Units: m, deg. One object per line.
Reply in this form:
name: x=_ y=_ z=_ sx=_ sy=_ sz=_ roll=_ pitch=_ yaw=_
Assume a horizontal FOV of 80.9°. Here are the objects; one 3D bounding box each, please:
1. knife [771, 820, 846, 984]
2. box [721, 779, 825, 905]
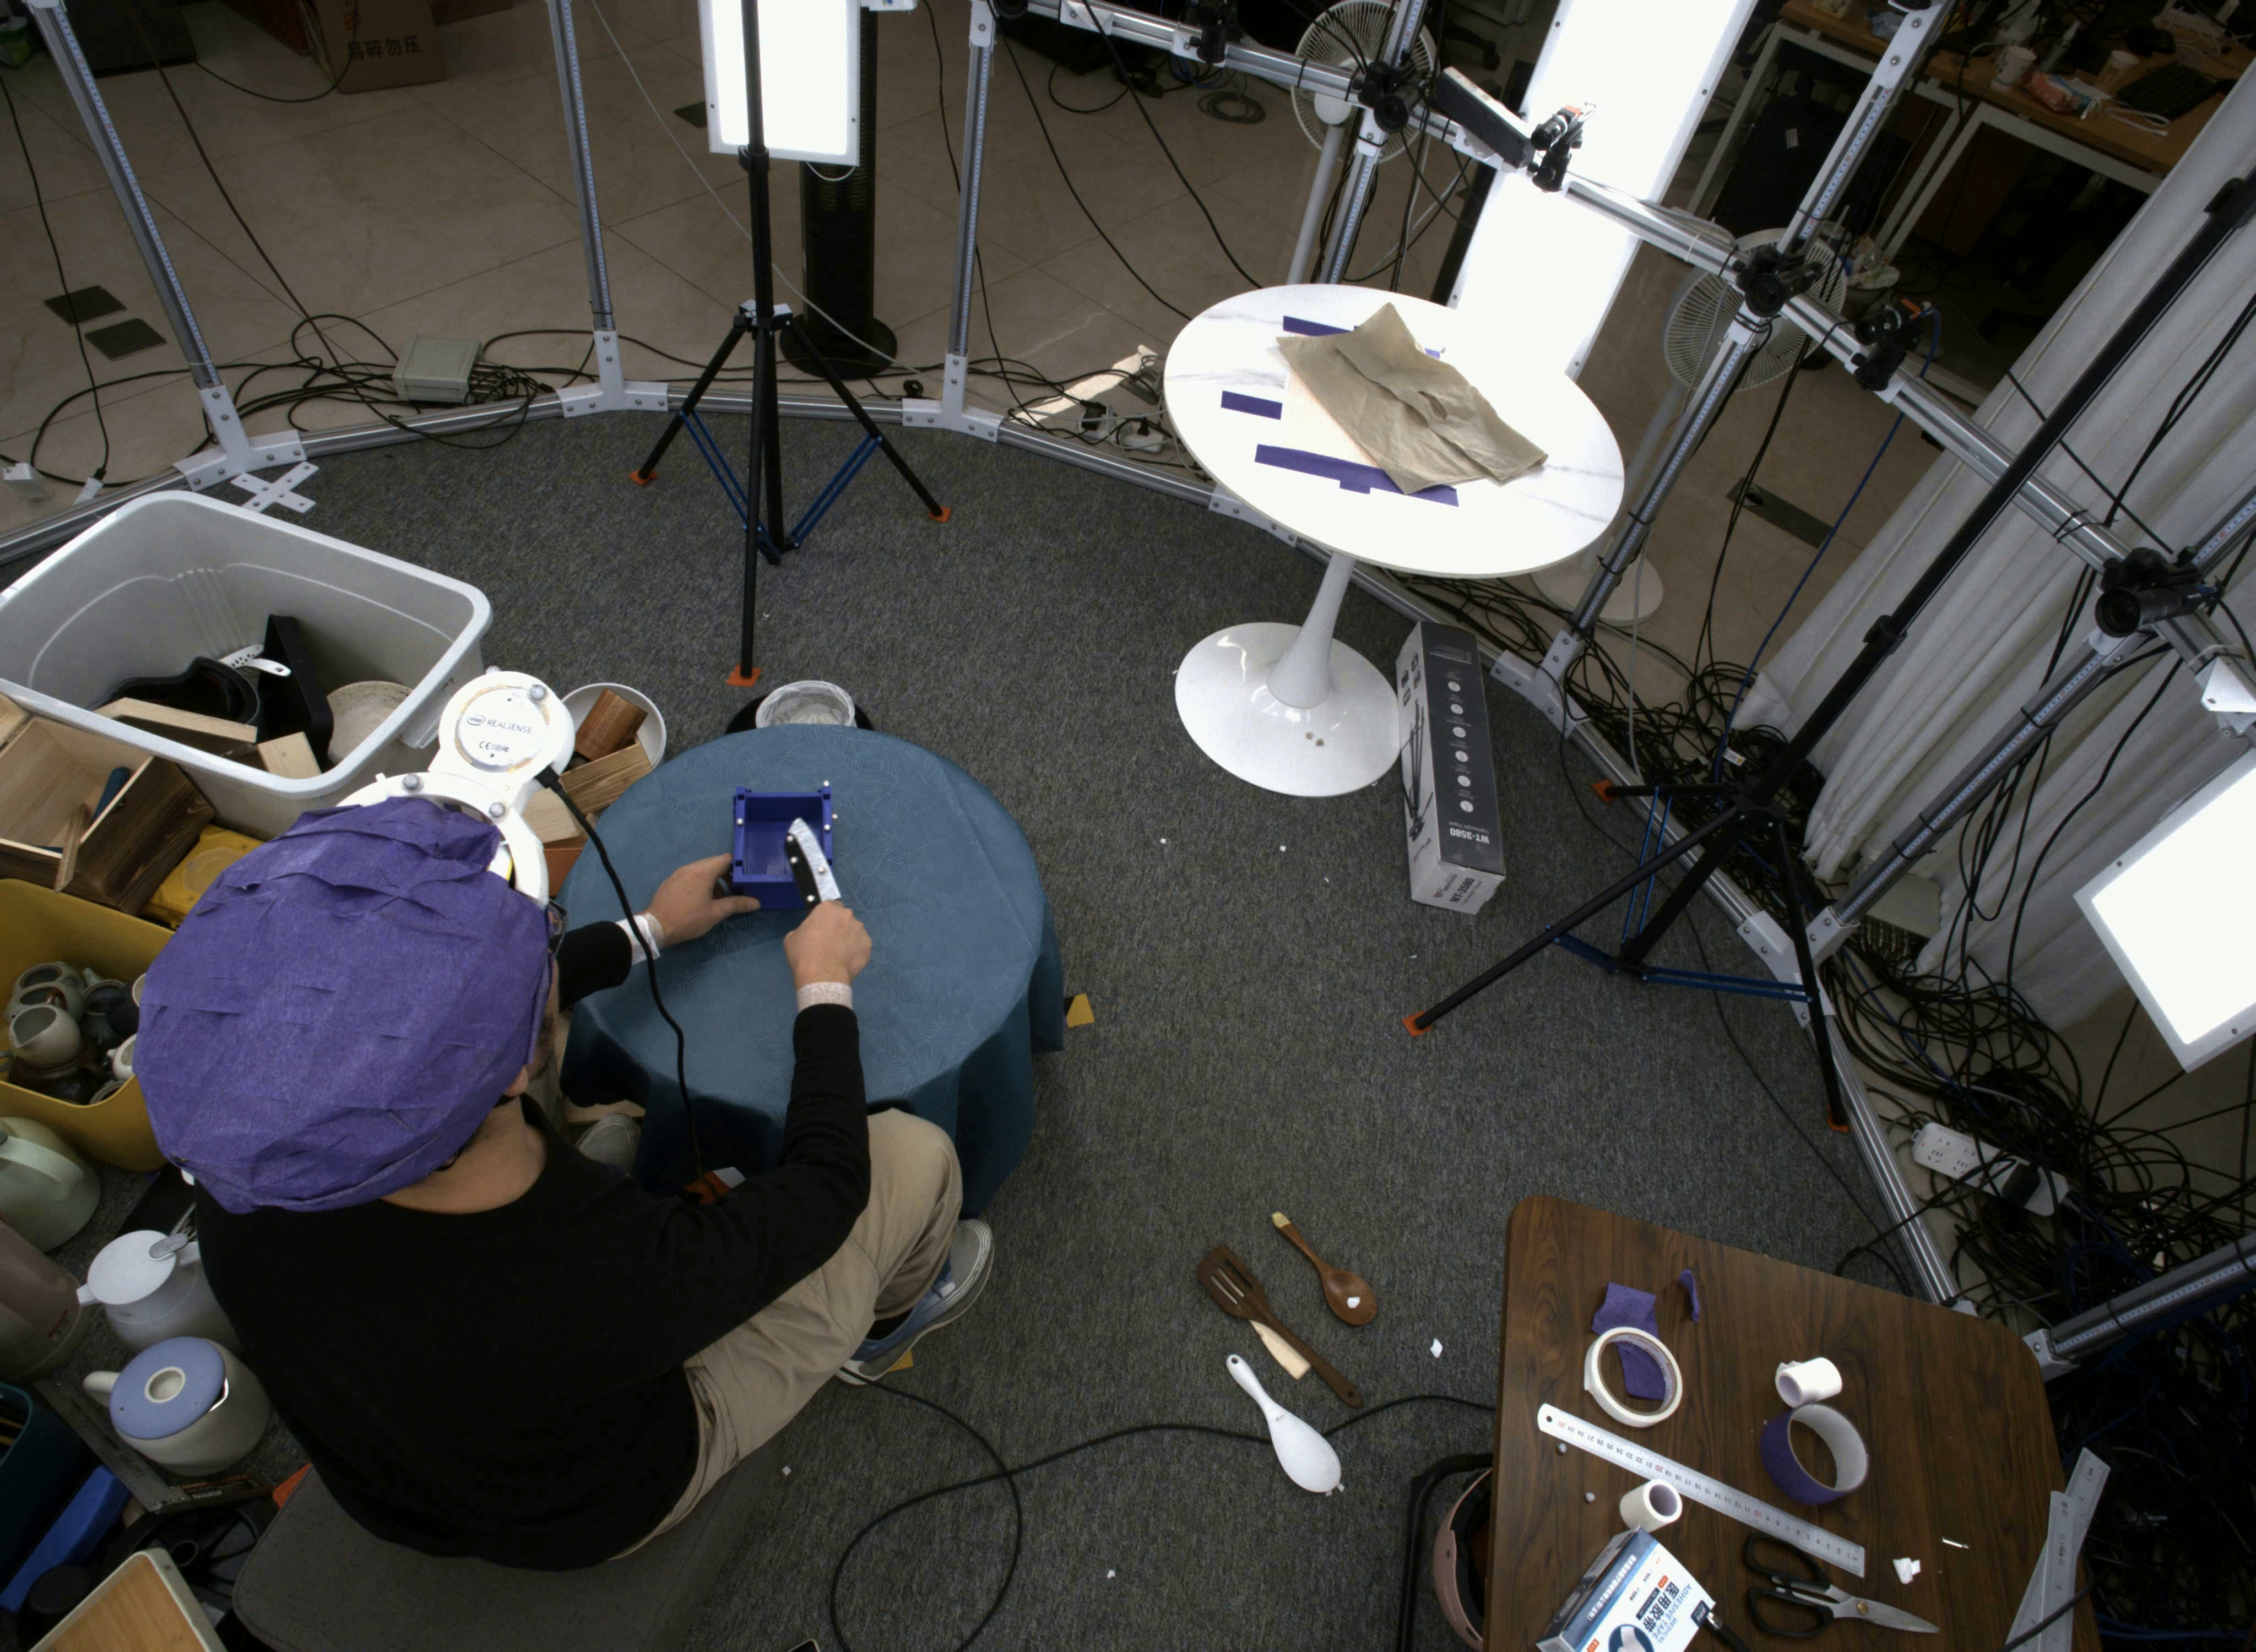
knife: x=-0.378 y=0.080 z=1.529 sx=0.050 sy=0.021 sz=0.279 roll=-25 pitch=47 yaw=-8
box: x=-0.450 y=0.011 z=1.650 sx=0.125 sy=0.083 sz=0.176 roll=0 pitch=56 yaw=-14
